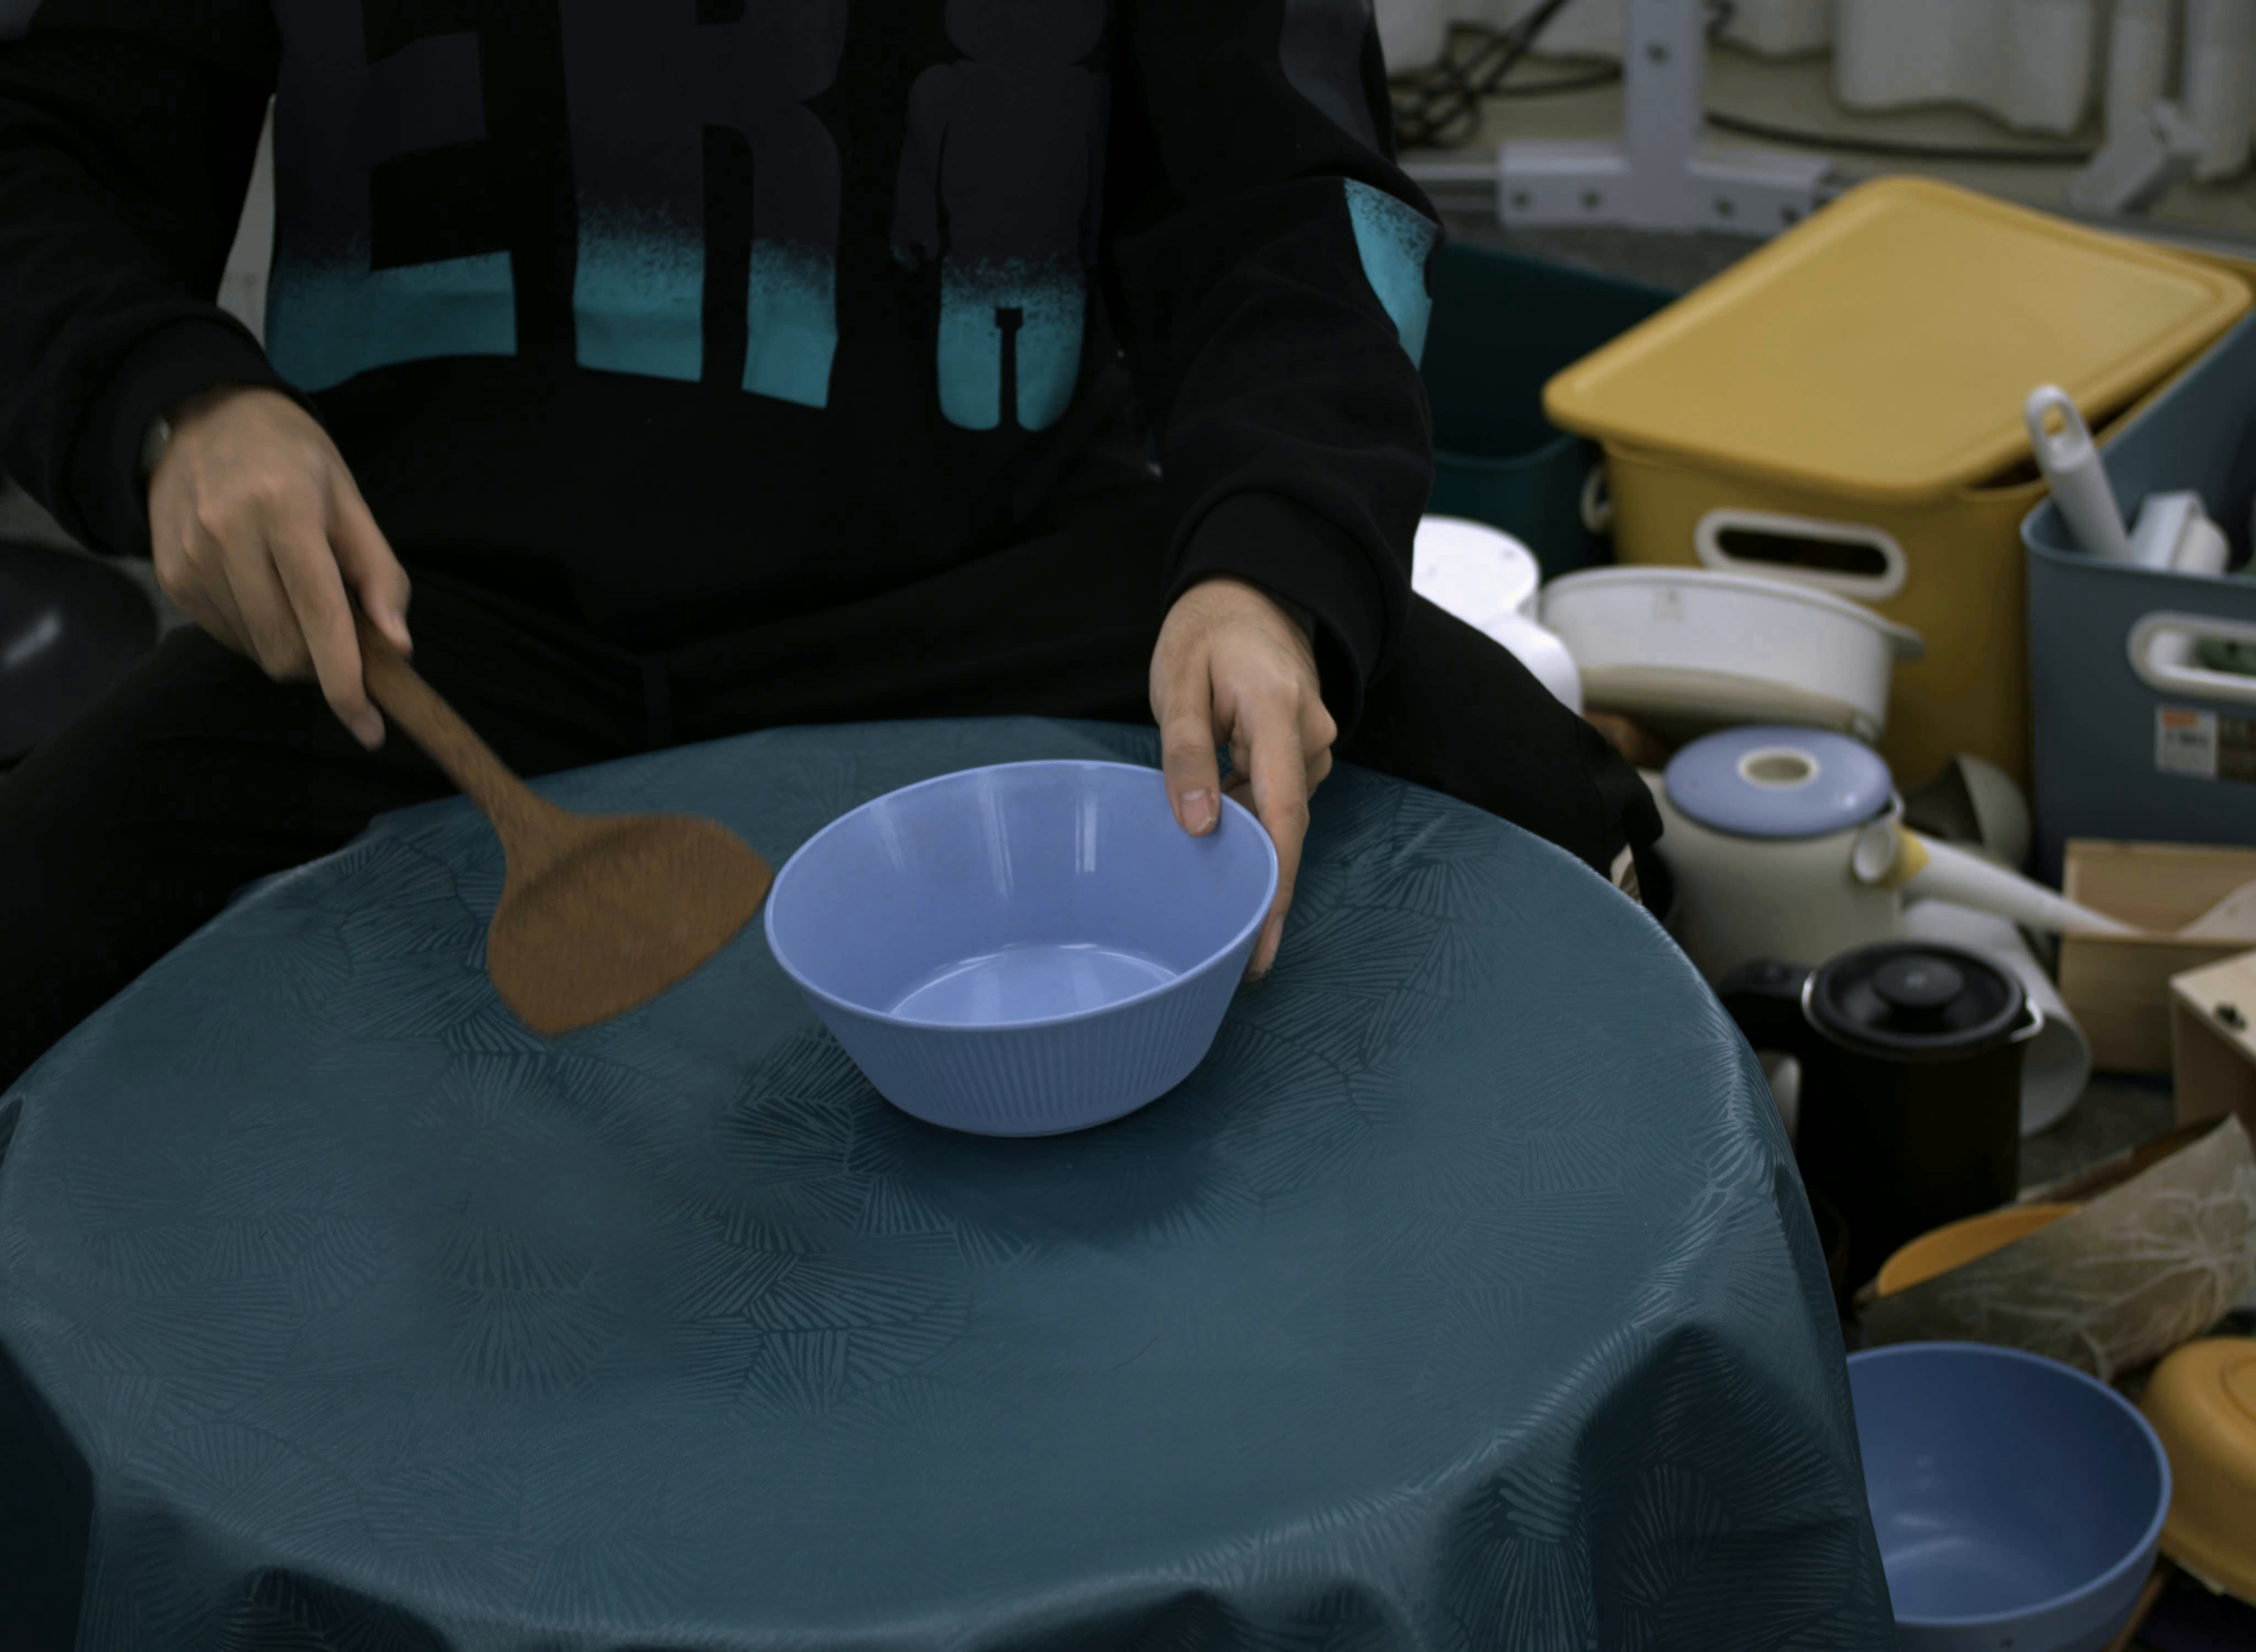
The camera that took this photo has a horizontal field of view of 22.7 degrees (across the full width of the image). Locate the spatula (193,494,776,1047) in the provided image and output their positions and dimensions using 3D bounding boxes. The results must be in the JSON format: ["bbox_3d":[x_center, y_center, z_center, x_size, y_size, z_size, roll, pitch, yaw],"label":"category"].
[{"bbox_3d":[-0.238,-0.032,1.919,0.096,0.015,0.388,-34,41,-13],"label":"spatula"}]

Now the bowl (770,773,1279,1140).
[{"bbox_3d":[-0.032,0.051,1.922,0.175,0.069,0.179,-5,27,3],"label":"bowl"}]
